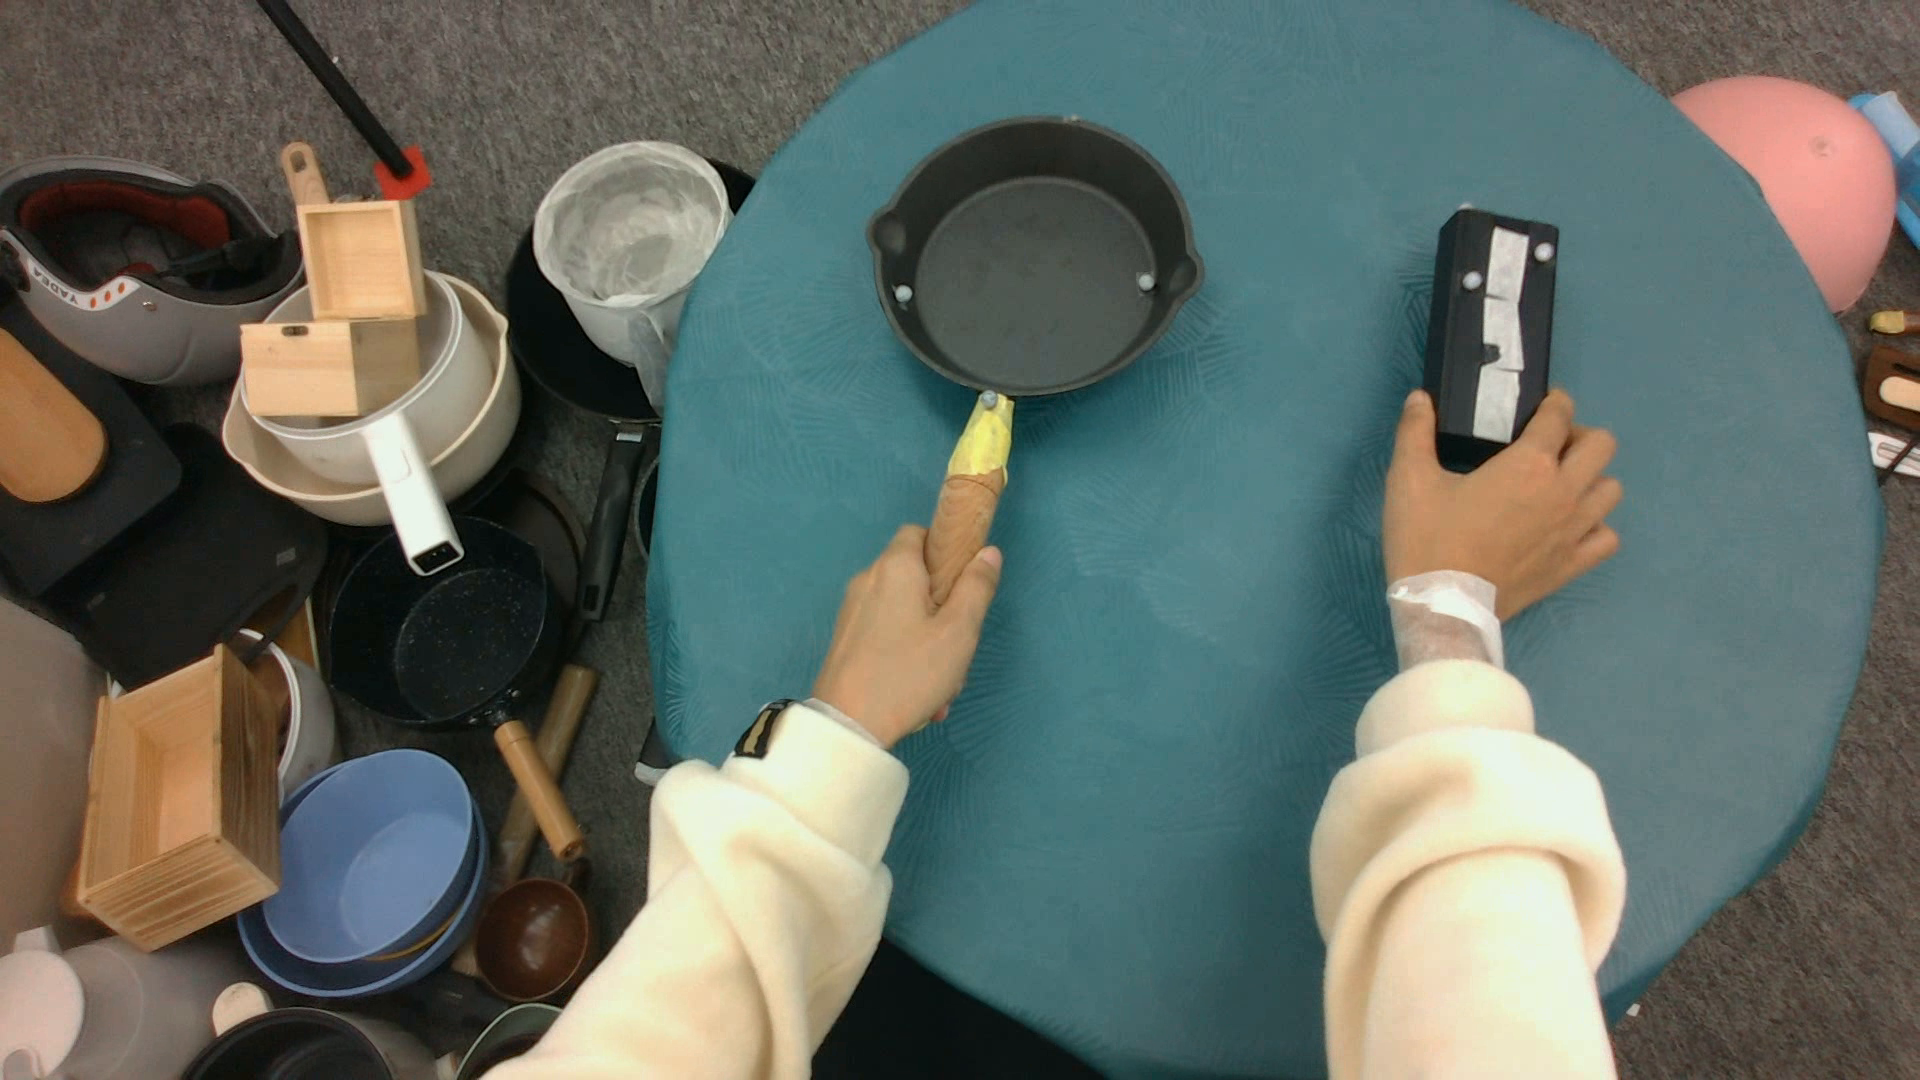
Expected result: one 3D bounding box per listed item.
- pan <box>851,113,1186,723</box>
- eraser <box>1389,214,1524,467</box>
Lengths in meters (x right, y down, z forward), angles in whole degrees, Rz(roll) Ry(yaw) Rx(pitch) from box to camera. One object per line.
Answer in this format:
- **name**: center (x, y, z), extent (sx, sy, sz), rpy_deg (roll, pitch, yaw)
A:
- **pan**: center (0.007, -0.066, 0.659), extent (0.169, 0.049, 0.325), rpy_deg (13, 70, 9)
- **eraser**: center (0.243, -0.099, 0.674), extent (0.053, 0.030, 0.126), rpy_deg (11, 70, 3)
